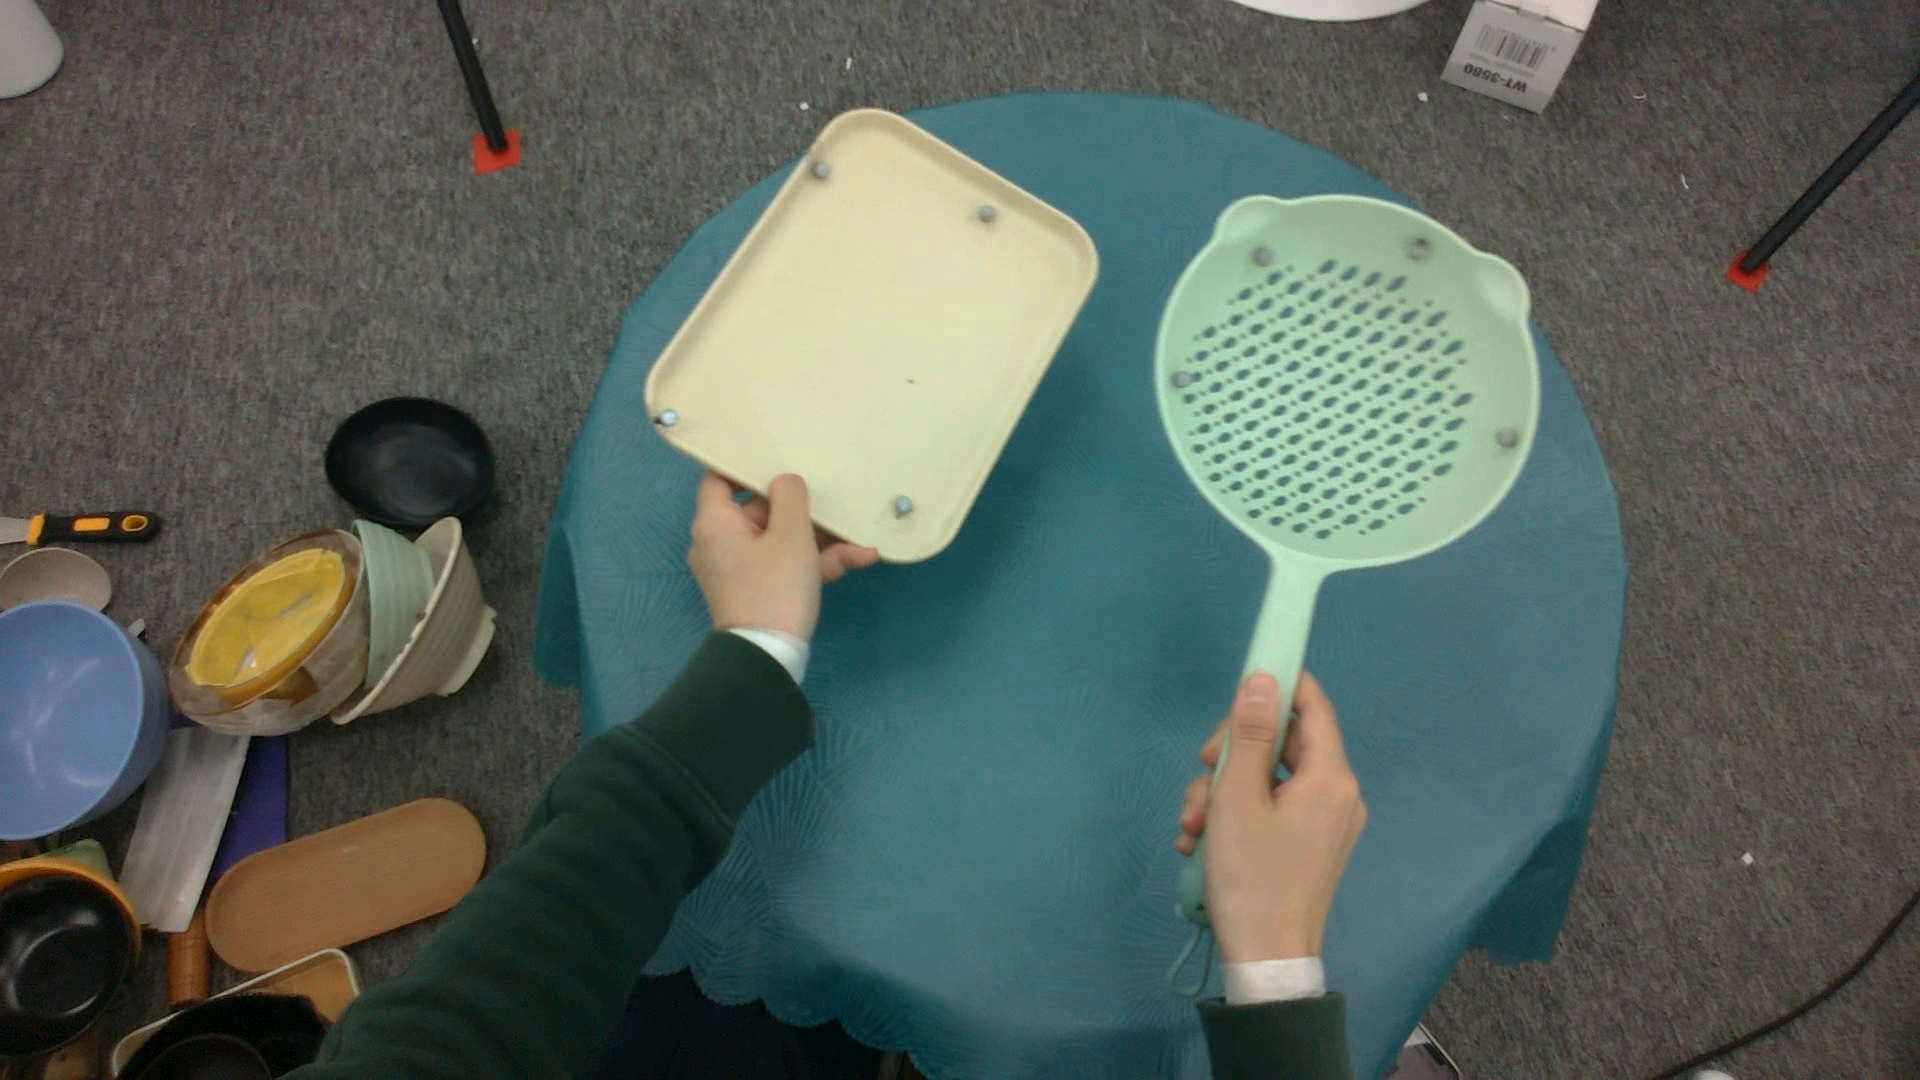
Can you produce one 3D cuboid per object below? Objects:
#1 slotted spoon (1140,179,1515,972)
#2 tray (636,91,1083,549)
[{"bbox_3d":[0.138,0.013,0.614,0.169,0.075,0.360,16,73,3],"label":"slotted spoon"},{"bbox_3d":[-0.046,-0.119,0.719,0.171,0.017,0.240,29,64,-4],"label":"tray"}]
